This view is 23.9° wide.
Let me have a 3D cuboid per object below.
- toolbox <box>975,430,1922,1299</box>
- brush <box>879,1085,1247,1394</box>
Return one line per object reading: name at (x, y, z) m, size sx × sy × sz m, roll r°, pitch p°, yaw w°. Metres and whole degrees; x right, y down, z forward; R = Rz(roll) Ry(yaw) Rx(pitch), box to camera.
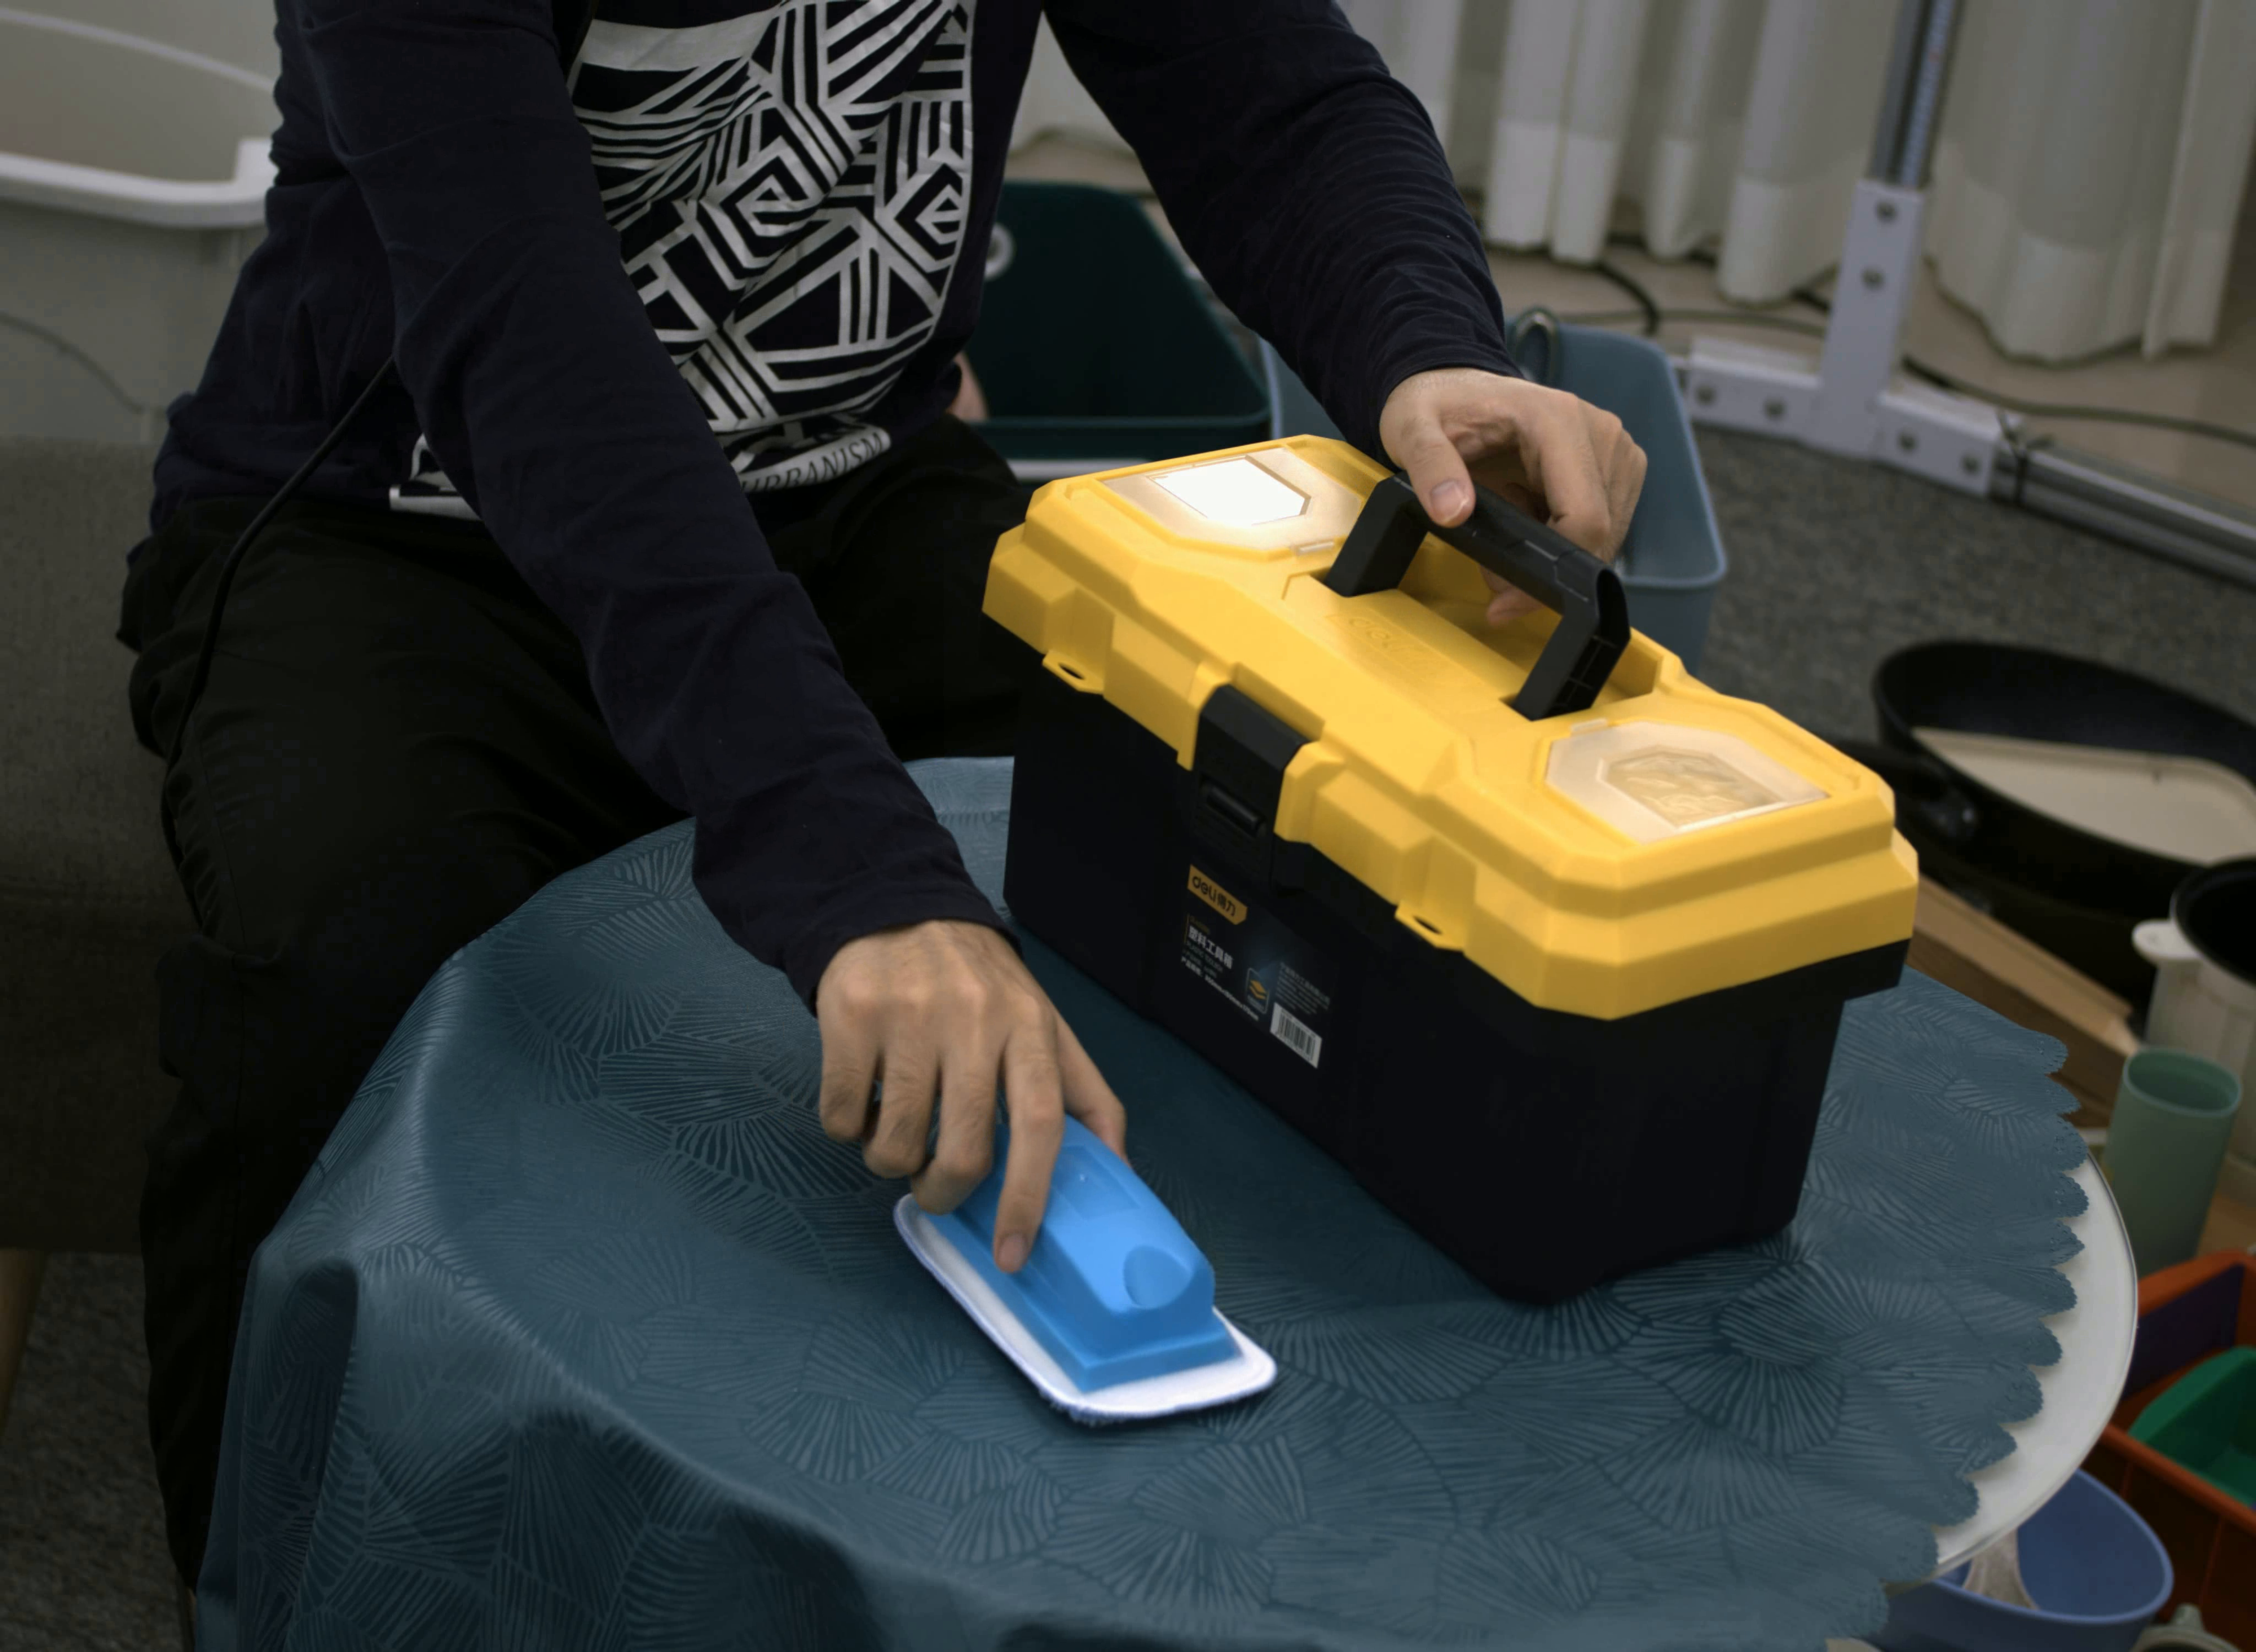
toolbox at (0.100, 0.007, 1.864) m, size 0.180 × 0.172 × 0.354 m, roll -13°, pitch 33°, yaw -34°
brush at (-0.019, 0.129, 1.725) m, size 0.083 × 0.056 × 0.145 m, roll -4°, pitch 31°, yaw -28°
